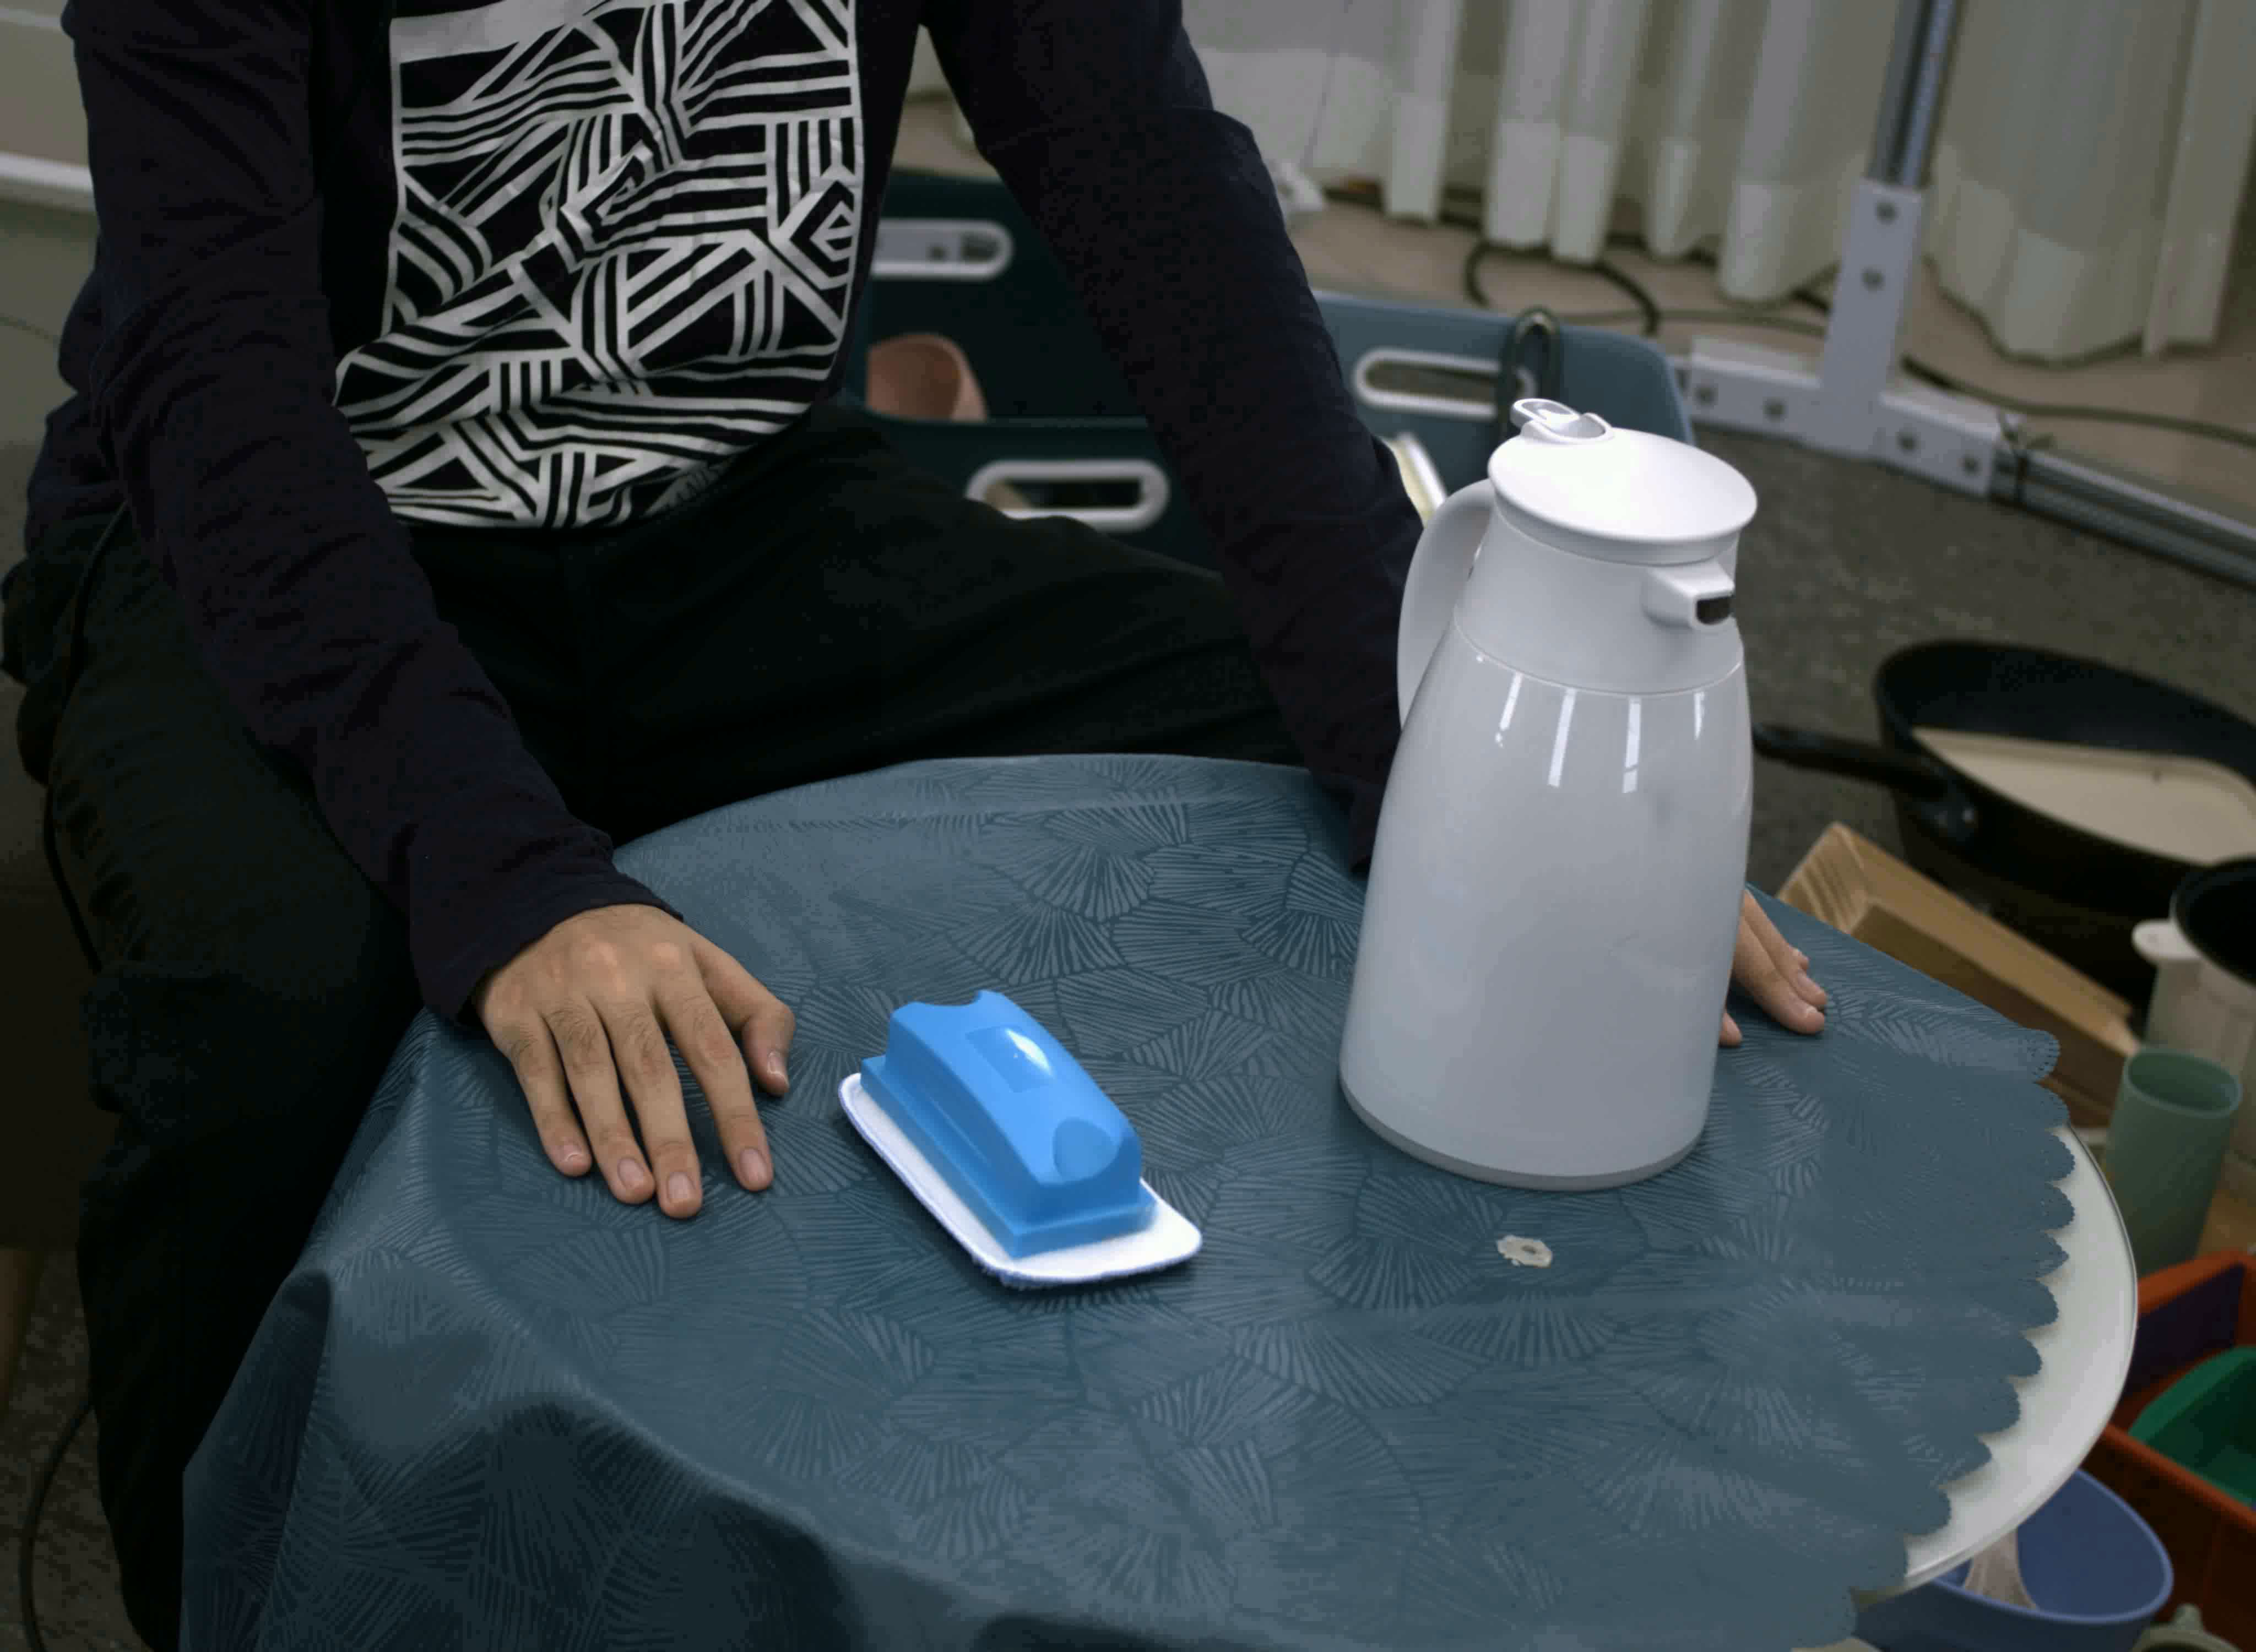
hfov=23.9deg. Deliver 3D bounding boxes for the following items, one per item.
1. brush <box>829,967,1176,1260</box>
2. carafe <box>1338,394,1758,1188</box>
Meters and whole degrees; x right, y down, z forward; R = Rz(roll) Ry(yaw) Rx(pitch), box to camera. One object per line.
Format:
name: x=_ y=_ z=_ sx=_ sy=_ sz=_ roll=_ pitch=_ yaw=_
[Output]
brush: x=-0.040 y=0.092 z=1.792 sx=0.083 sy=0.056 sz=0.145 roll=-4 pitch=31 yaw=-26
carafe: x=0.142 y=-0.022 z=1.851 sx=0.131 sy=0.248 sz=0.169 roll=-10 pitch=30 yaw=-30
